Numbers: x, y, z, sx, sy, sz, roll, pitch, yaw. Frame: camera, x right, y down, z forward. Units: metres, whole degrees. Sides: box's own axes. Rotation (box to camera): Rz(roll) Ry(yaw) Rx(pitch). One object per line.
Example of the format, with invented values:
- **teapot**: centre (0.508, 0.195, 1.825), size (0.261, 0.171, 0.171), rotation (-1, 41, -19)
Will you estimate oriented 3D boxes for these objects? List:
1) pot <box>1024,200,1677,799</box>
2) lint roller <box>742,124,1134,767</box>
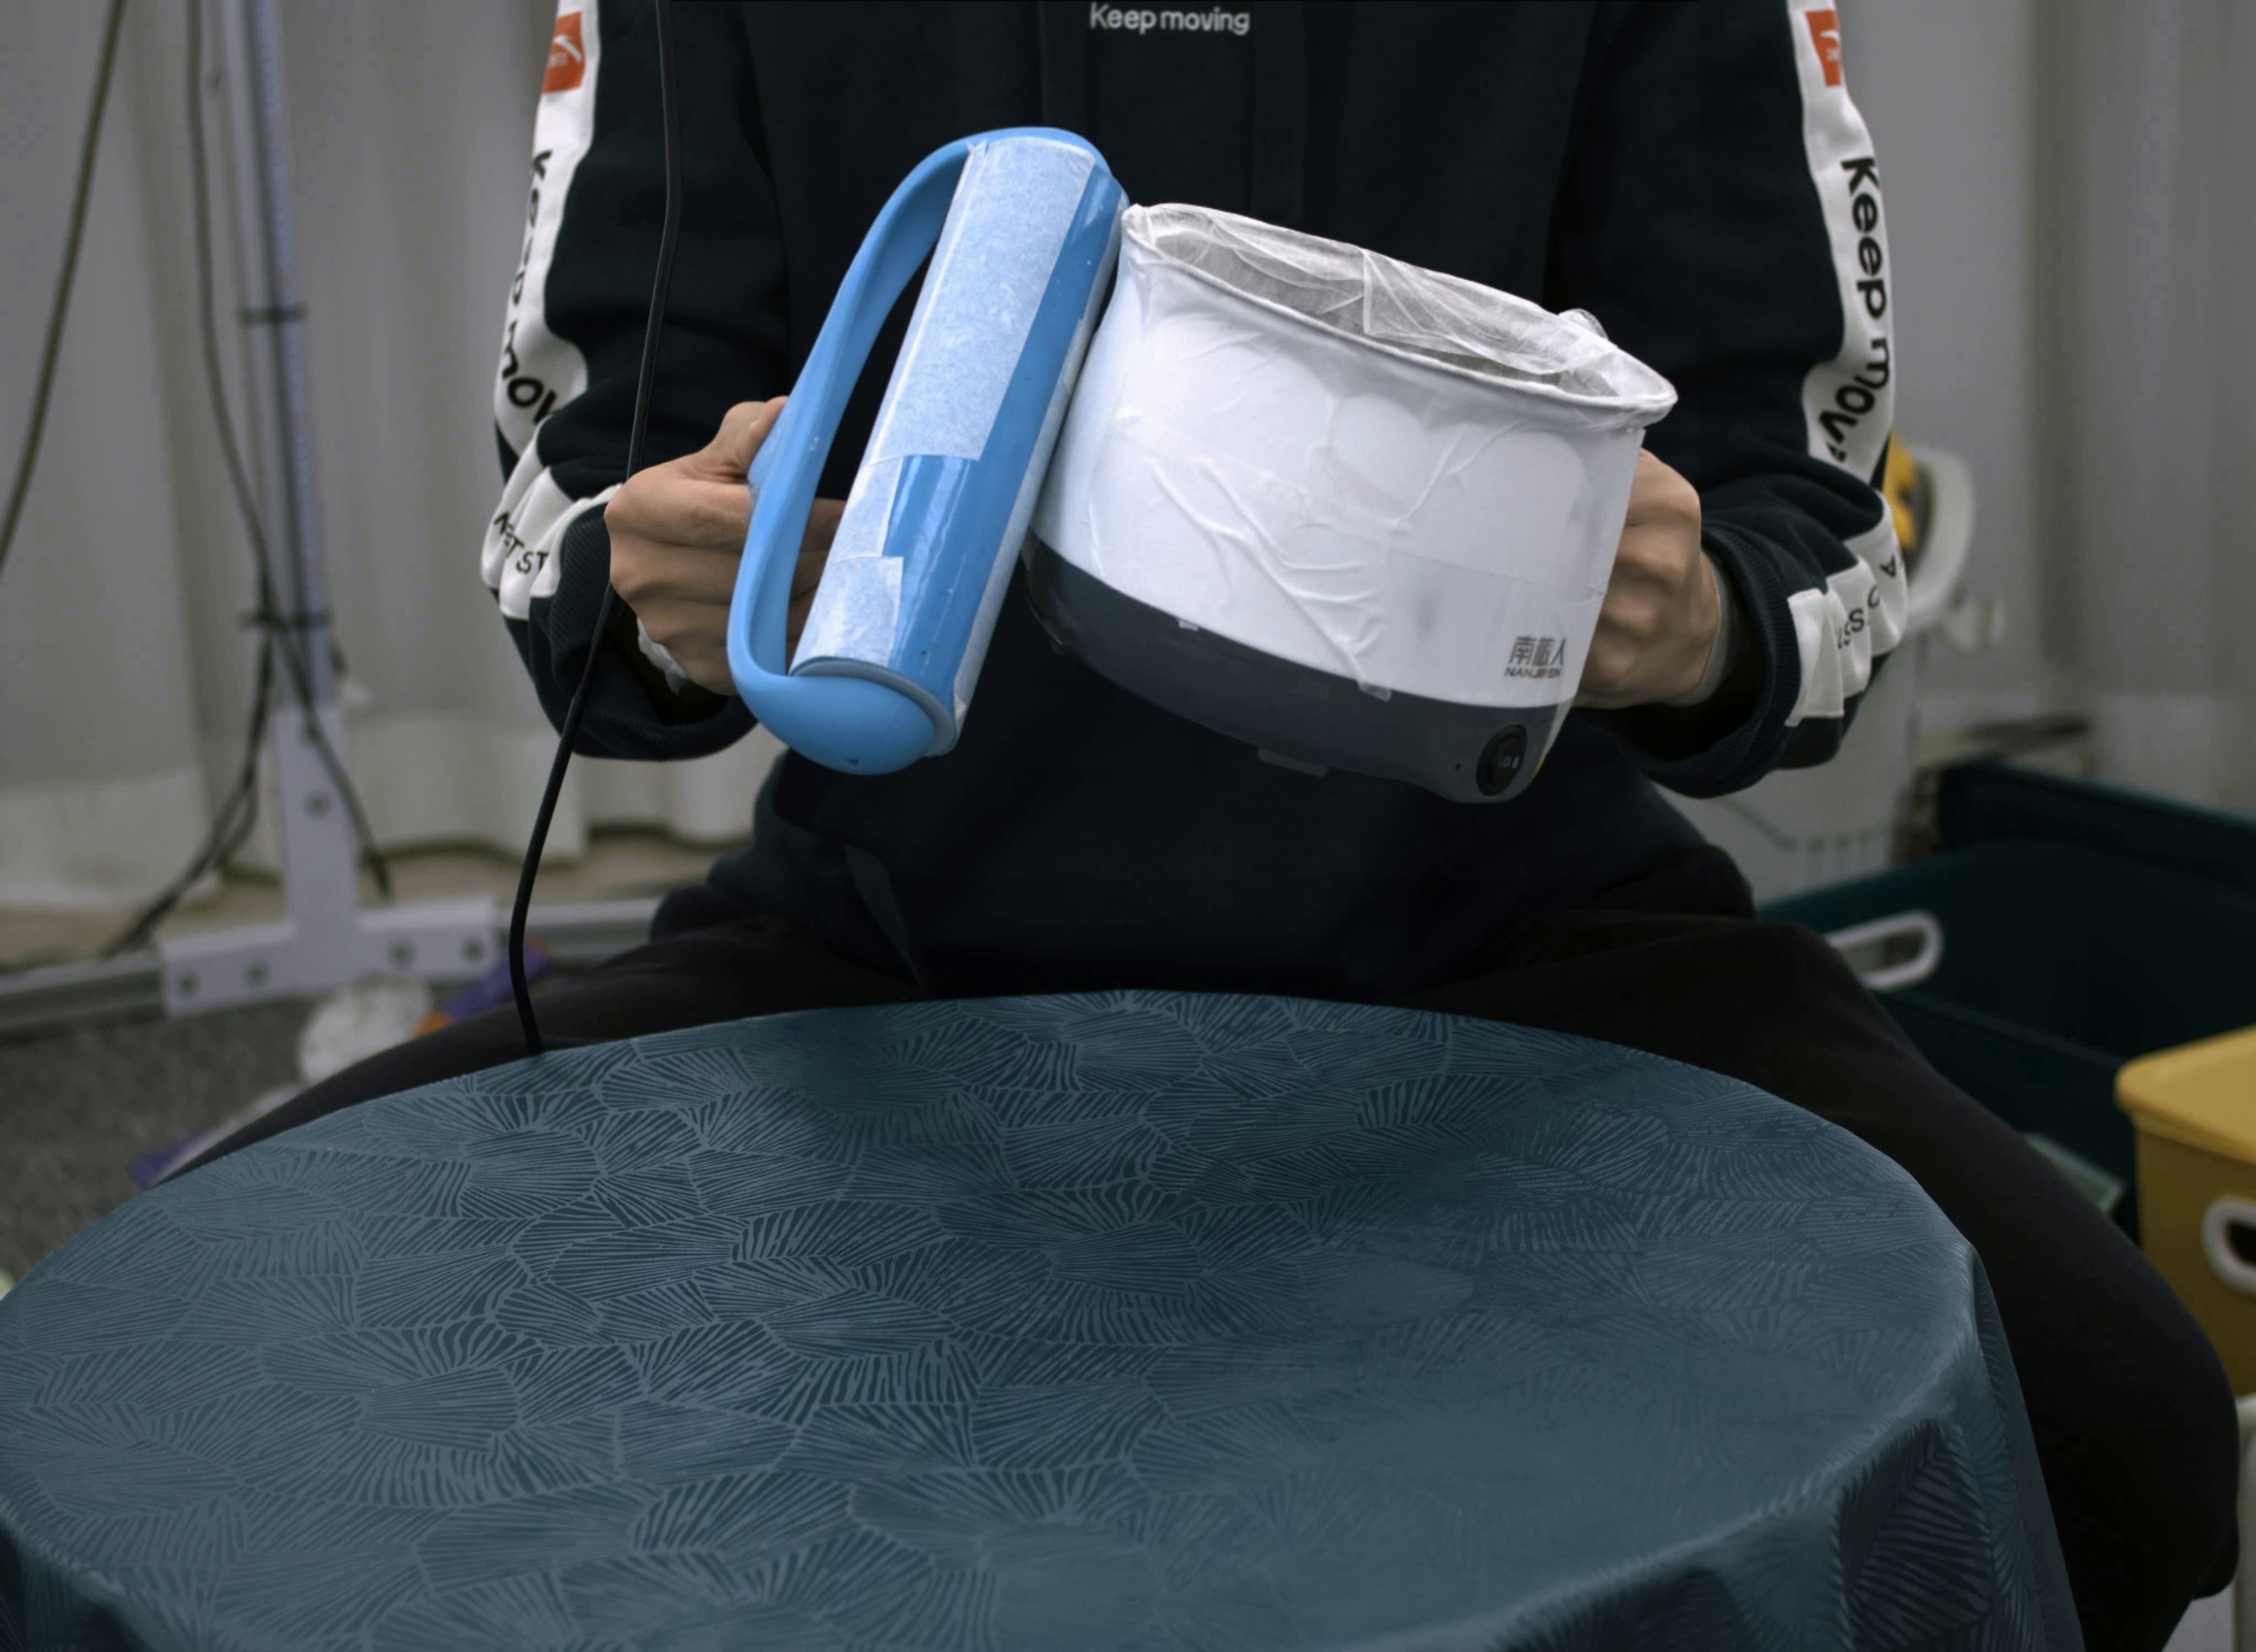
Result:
- **pot**: centre (0.080, -0.102, 1.689), size (0.180, 0.136, 0.232), rotation (27, 18, 33)
- **lint roller**: centre (-0.083, -0.099, 1.689), size (0.067, 0.232, 0.179), rotation (30, -35, -25)
